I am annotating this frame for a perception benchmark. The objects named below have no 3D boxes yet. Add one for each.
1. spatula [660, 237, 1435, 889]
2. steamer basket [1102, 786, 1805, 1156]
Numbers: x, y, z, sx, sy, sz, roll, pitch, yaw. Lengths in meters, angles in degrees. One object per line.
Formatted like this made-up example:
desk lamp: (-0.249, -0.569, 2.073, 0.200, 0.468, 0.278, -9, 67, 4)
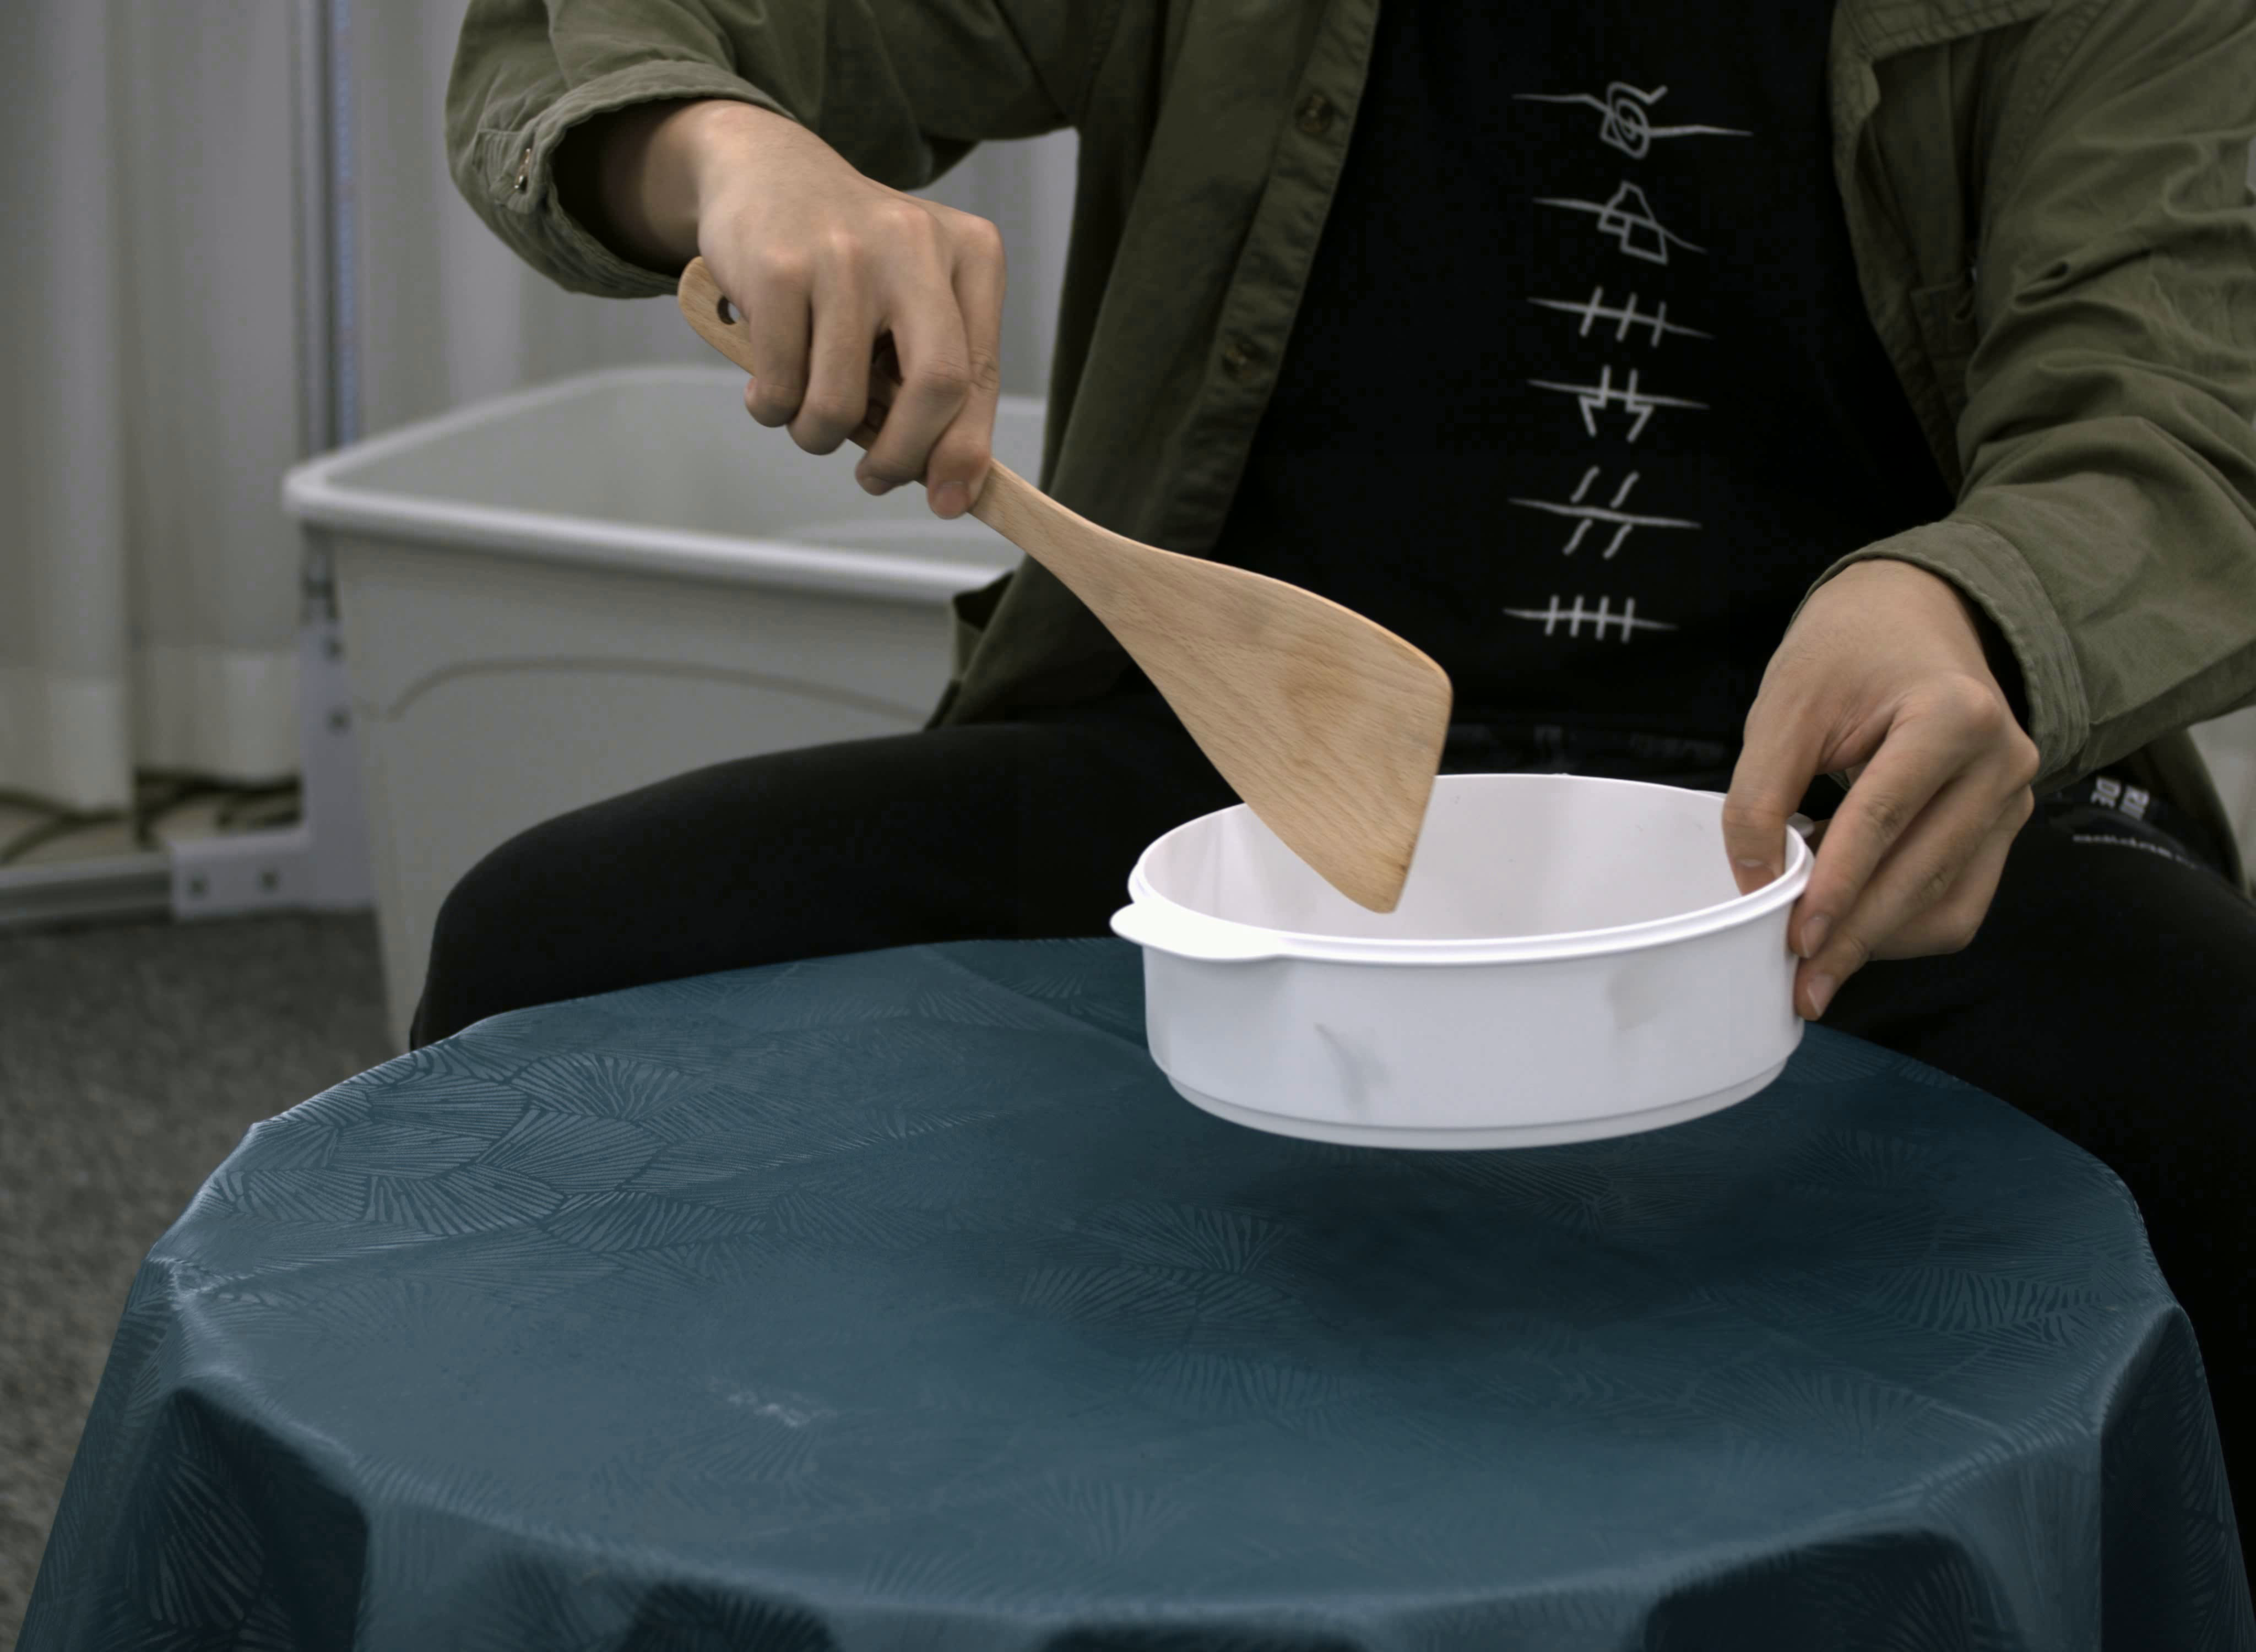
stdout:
spatula: (-0.030, -0.097, 1.624, 0.324, 0.080, 0.016, 36, 28, 24)
steamer basket: (0.098, 0.043, 1.555, 0.231, 0.070, 0.199, -10, 16, -33)
